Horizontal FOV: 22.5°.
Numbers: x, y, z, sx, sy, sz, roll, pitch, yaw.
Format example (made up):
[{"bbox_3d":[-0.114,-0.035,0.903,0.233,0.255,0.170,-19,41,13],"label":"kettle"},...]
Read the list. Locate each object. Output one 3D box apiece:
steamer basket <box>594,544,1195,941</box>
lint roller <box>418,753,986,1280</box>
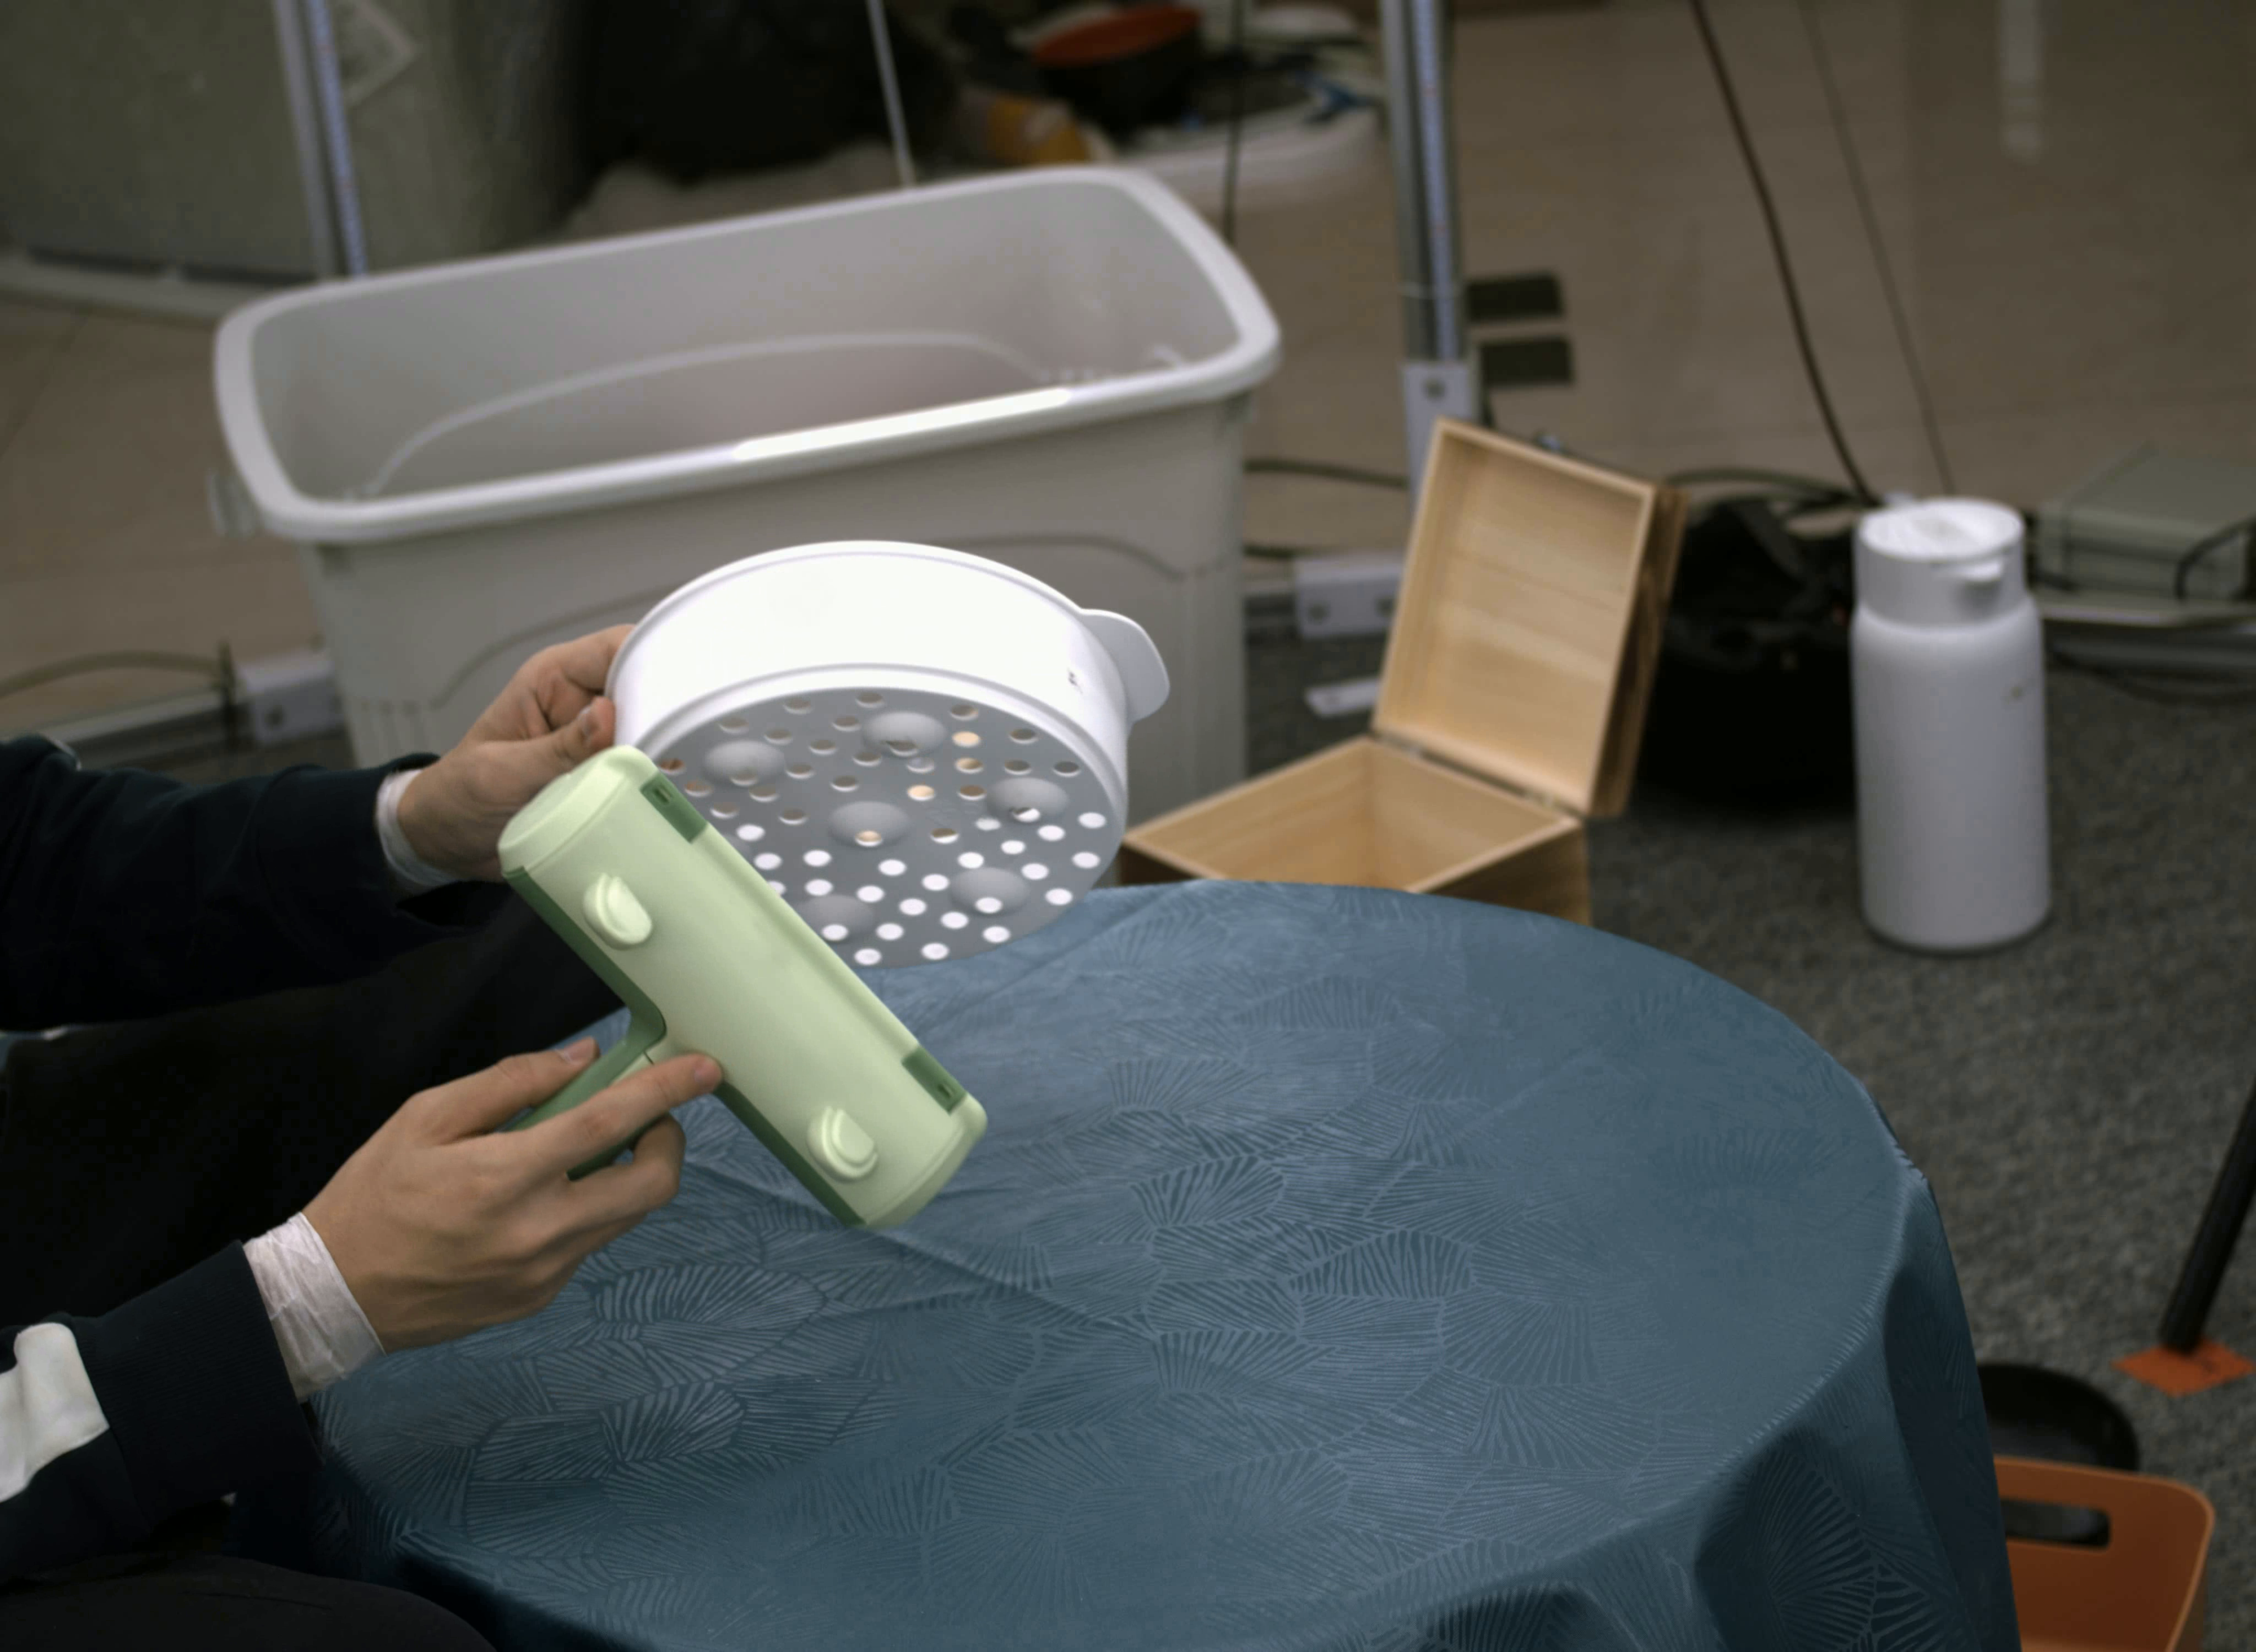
[{"bbox_3d":[-0.090,-0.026,2.127,0.230,0.205,0.068,-5,61,14],"label":"steamer basket"},{"bbox_3d":[-0.177,0.101,1.986,0.183,0.200,0.081,-42,16,0],"label":"lint roller"}]
